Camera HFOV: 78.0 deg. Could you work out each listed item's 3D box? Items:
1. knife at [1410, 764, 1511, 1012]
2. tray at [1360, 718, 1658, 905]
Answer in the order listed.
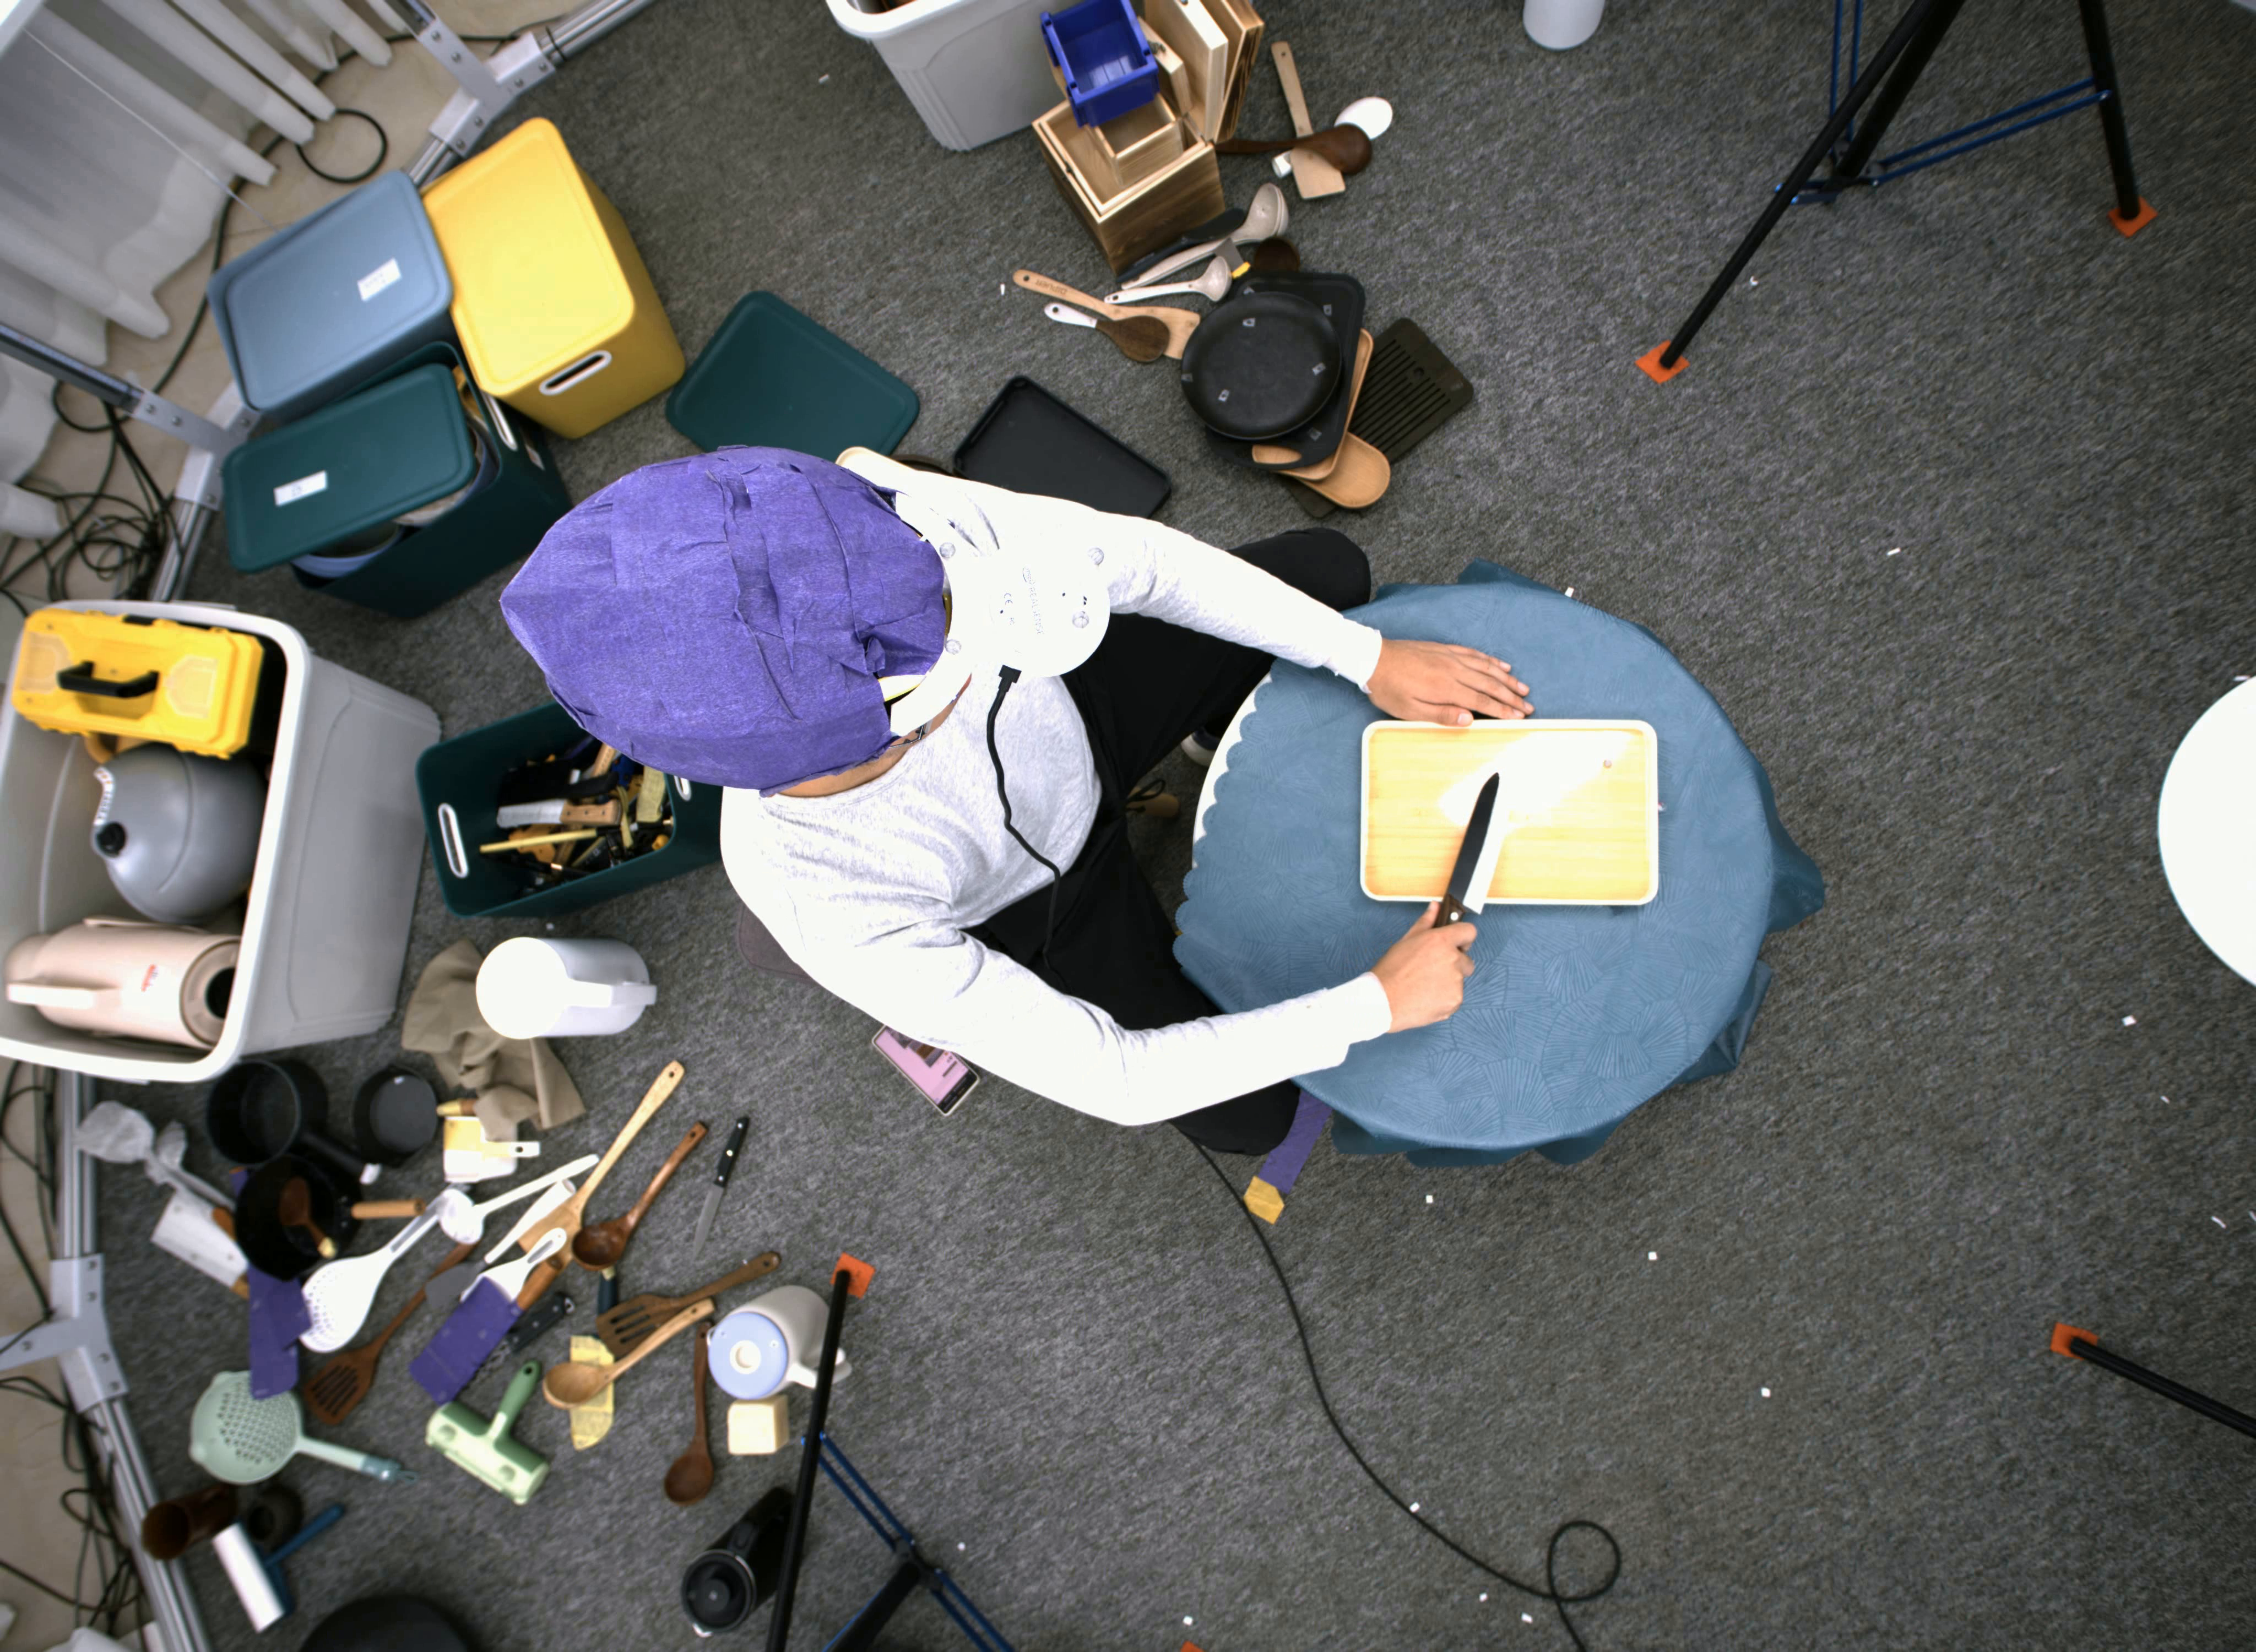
[{"bbox_3d":[0.341,0.058,1.399,0.050,0.020,0.285,28,75,-16],"label":"knife"},{"bbox_3d":[0.394,-0.018,1.429,0.301,0.027,0.191,1,87,11],"label":"tray"}]
